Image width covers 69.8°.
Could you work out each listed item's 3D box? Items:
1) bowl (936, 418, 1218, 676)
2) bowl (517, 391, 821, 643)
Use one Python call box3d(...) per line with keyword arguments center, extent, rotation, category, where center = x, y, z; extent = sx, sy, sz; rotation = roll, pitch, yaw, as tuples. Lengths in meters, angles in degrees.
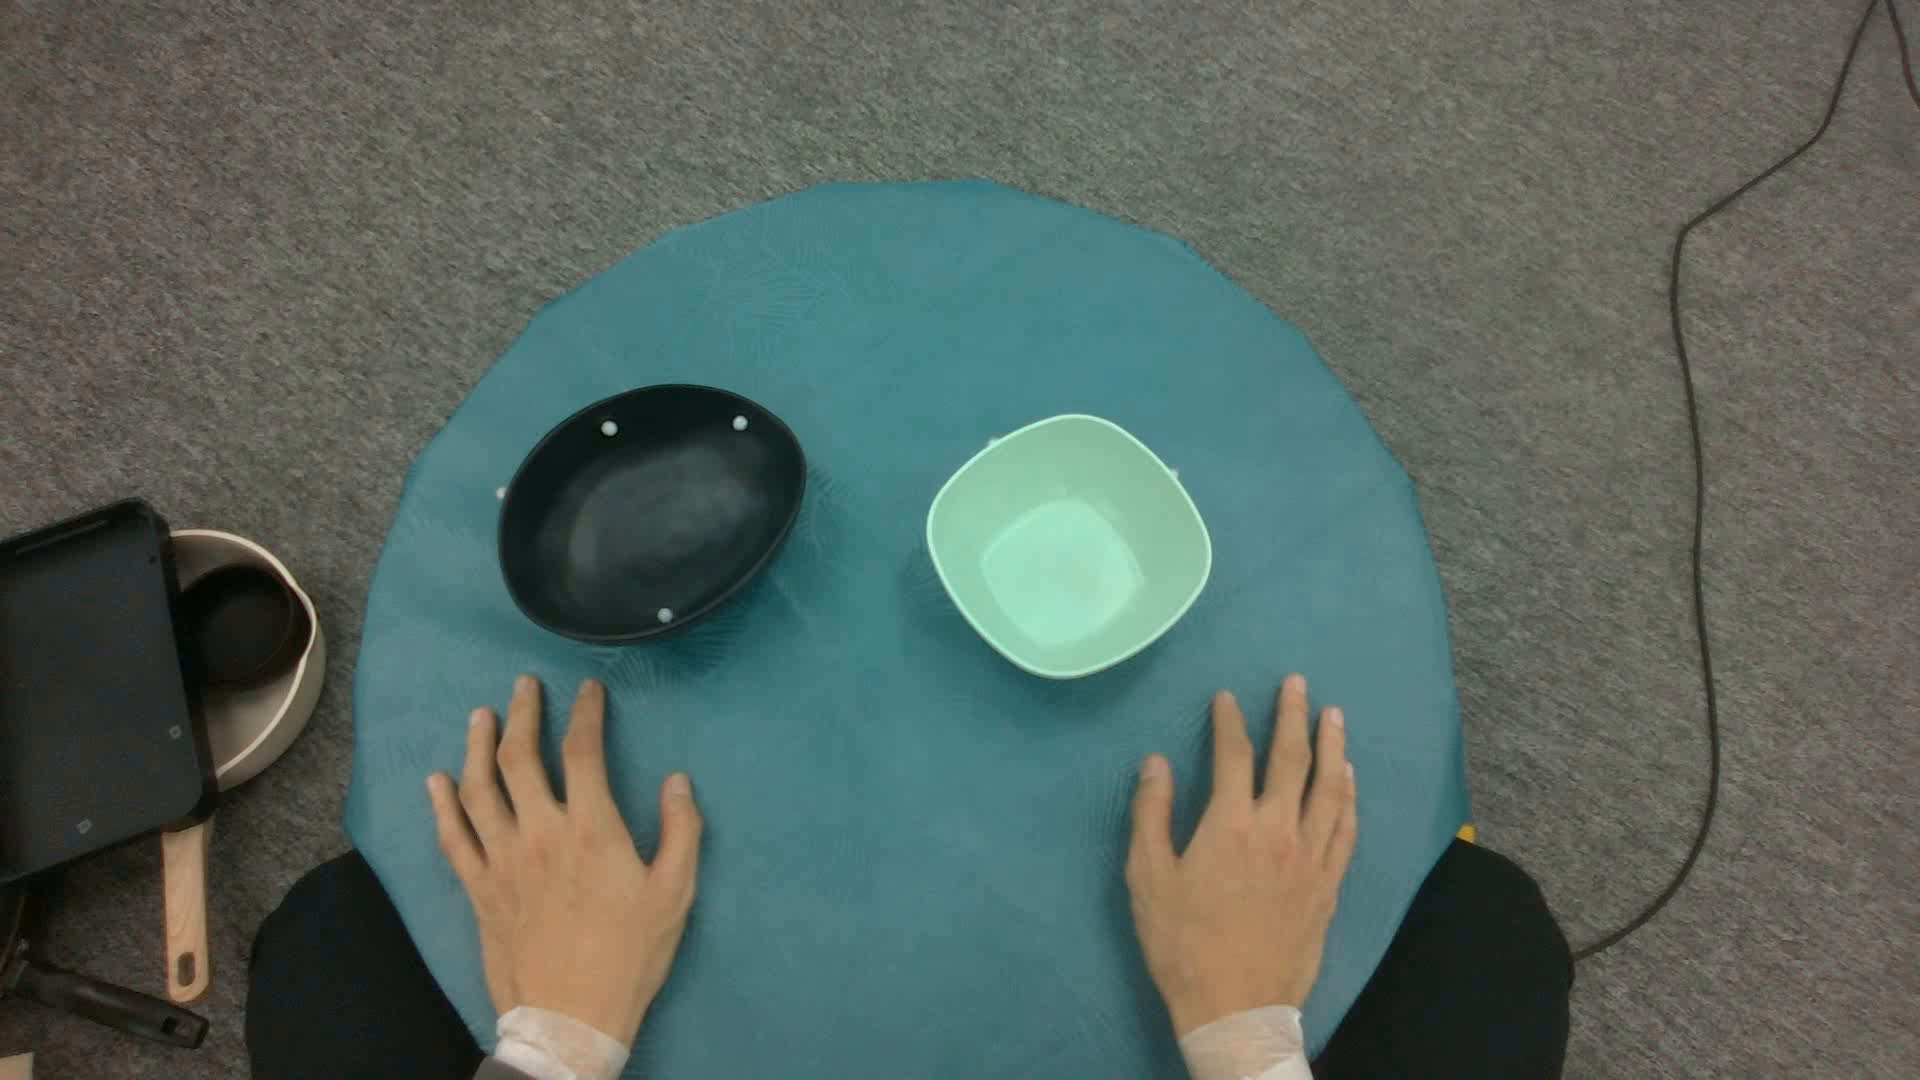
box3d(center=(0.062, 0.011, 0.758), extent=(0.151, 0.058, 0.152), rotation=(0, 65, 1), category="bowl")
box3d(center=(-0.157, -0.008, 0.762), extent=(0.171, 0.066, 0.137), rotation=(-36, 72, -15), category="bowl")
